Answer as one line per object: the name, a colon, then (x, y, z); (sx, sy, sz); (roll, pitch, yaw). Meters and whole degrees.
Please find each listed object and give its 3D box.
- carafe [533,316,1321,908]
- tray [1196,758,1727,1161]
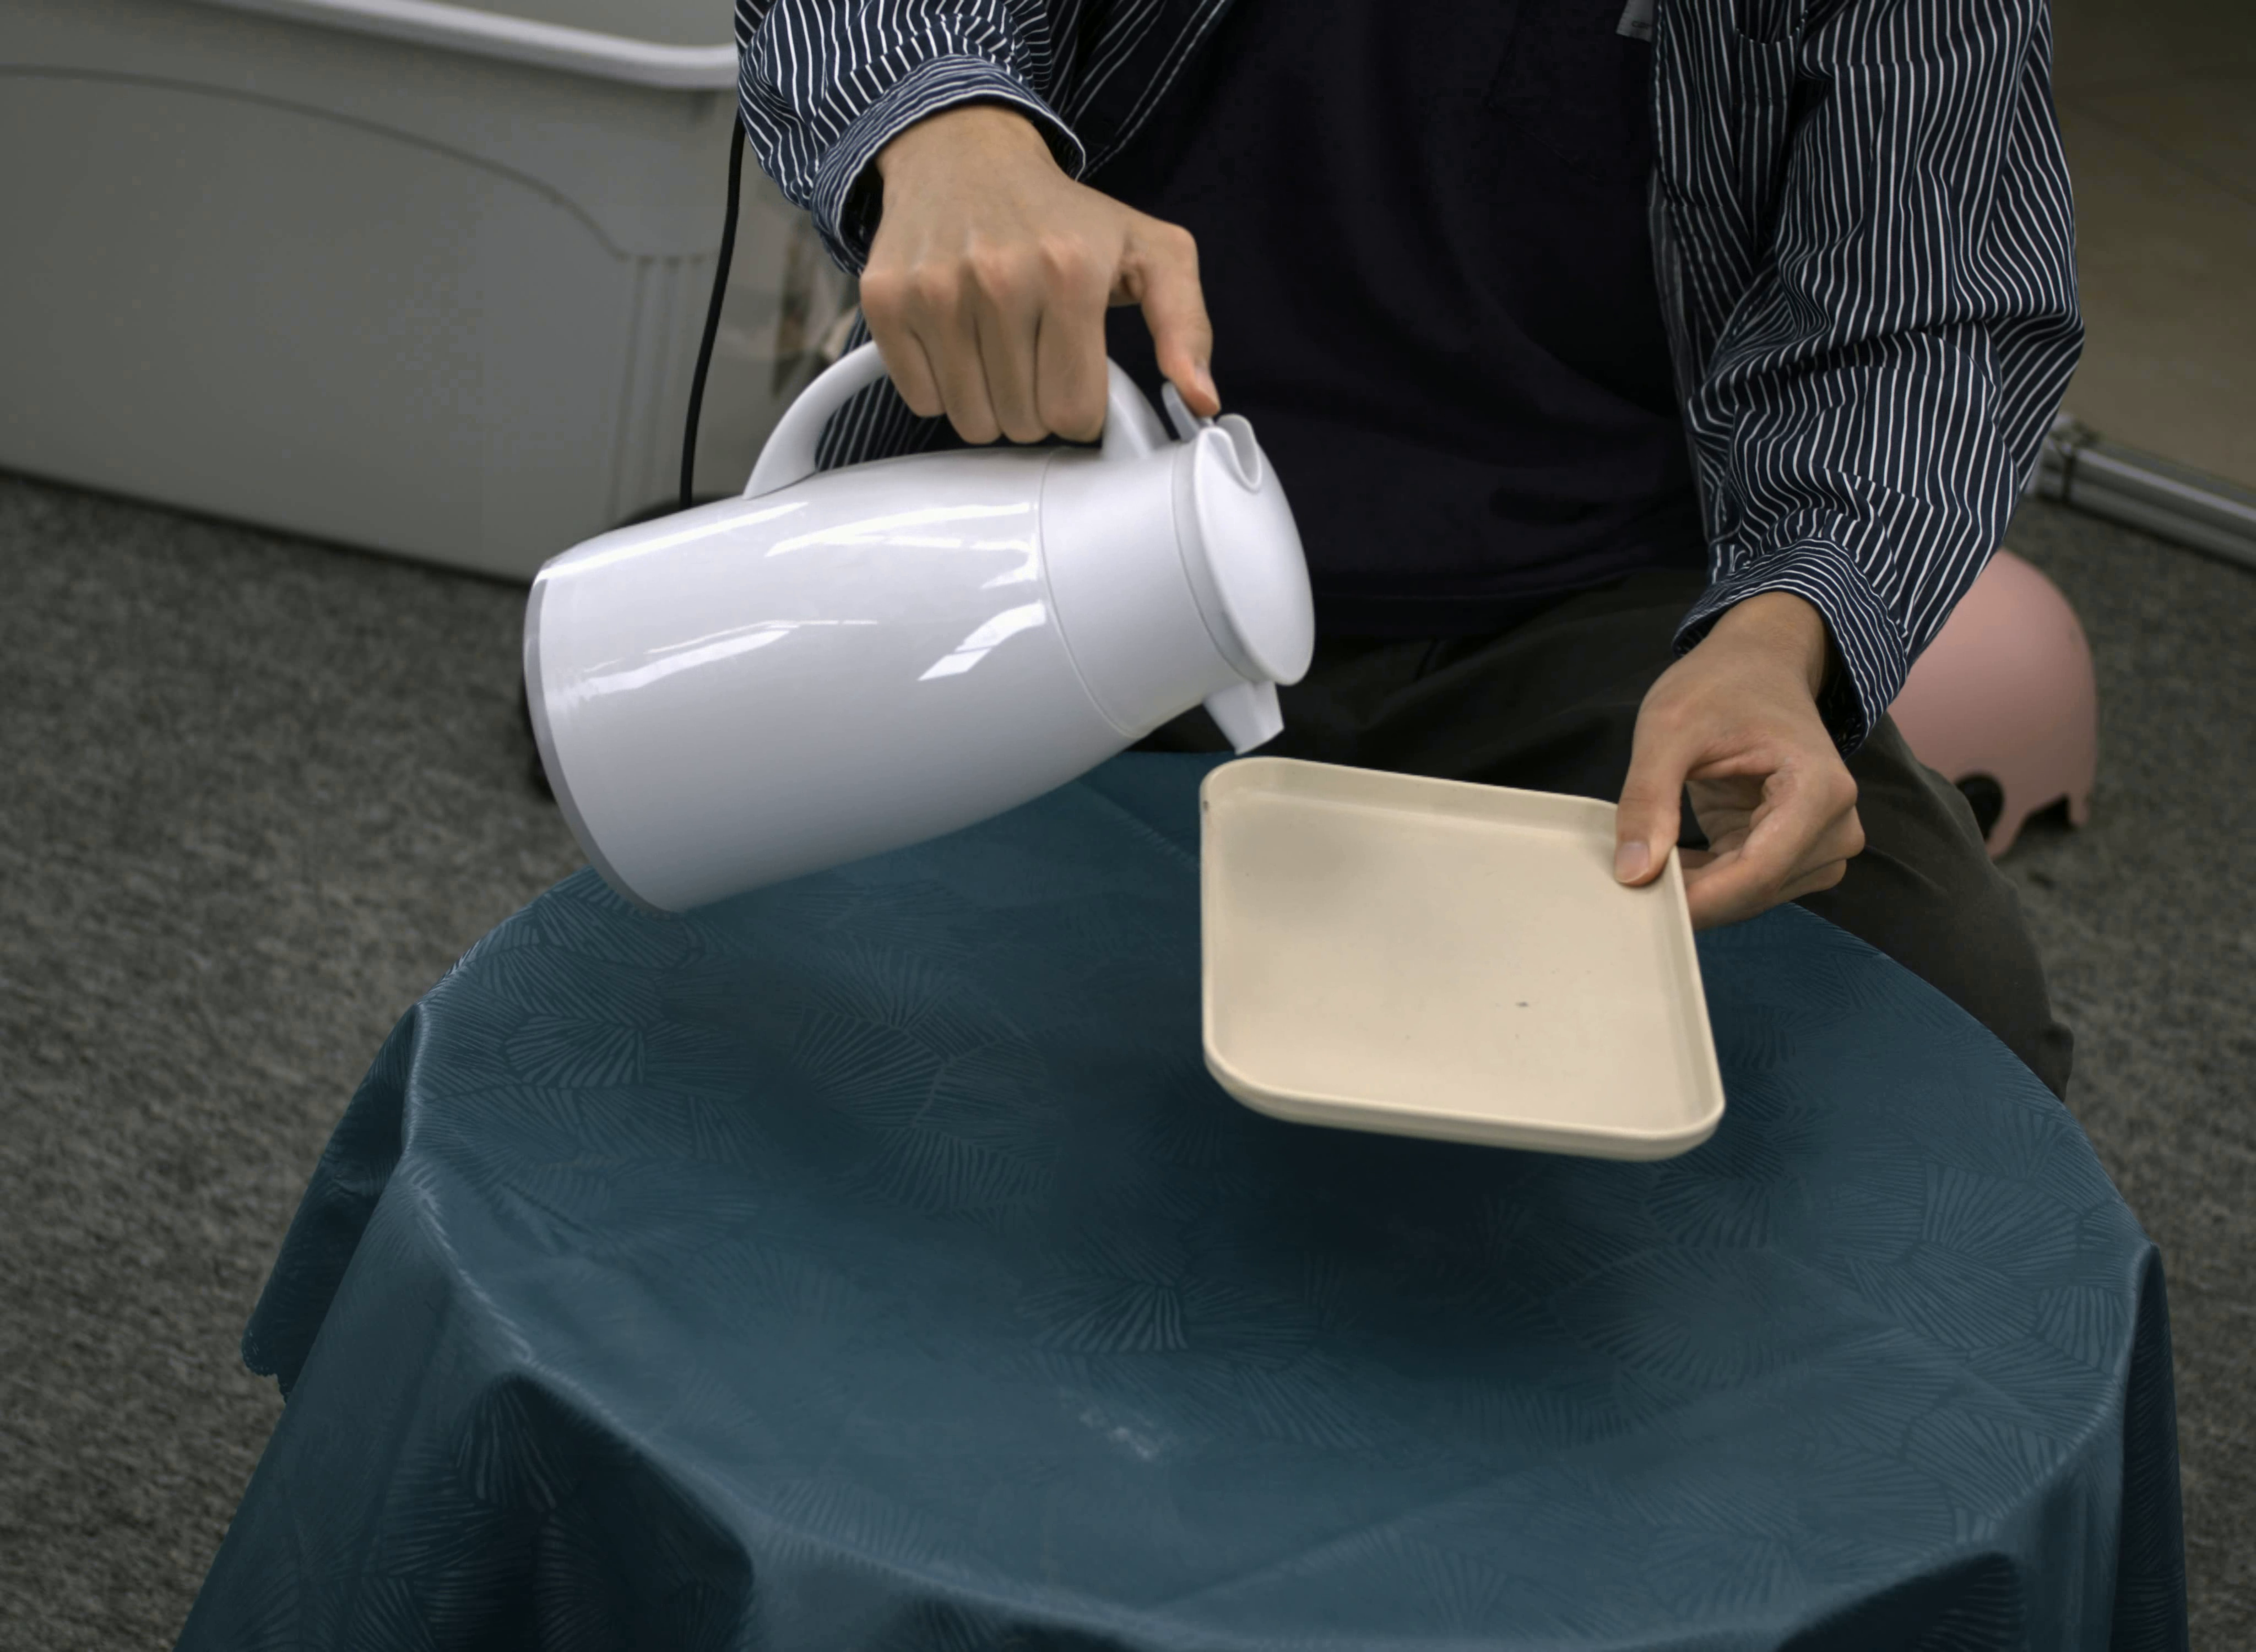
carafe: (-0.067, -0.080, 1.779); (0.249, 0.167, 0.132); (-14, 13, 21)
tray: (0.107, 0.044, 1.780); (0.171, 0.017, 0.241); (7, 26, -3)
